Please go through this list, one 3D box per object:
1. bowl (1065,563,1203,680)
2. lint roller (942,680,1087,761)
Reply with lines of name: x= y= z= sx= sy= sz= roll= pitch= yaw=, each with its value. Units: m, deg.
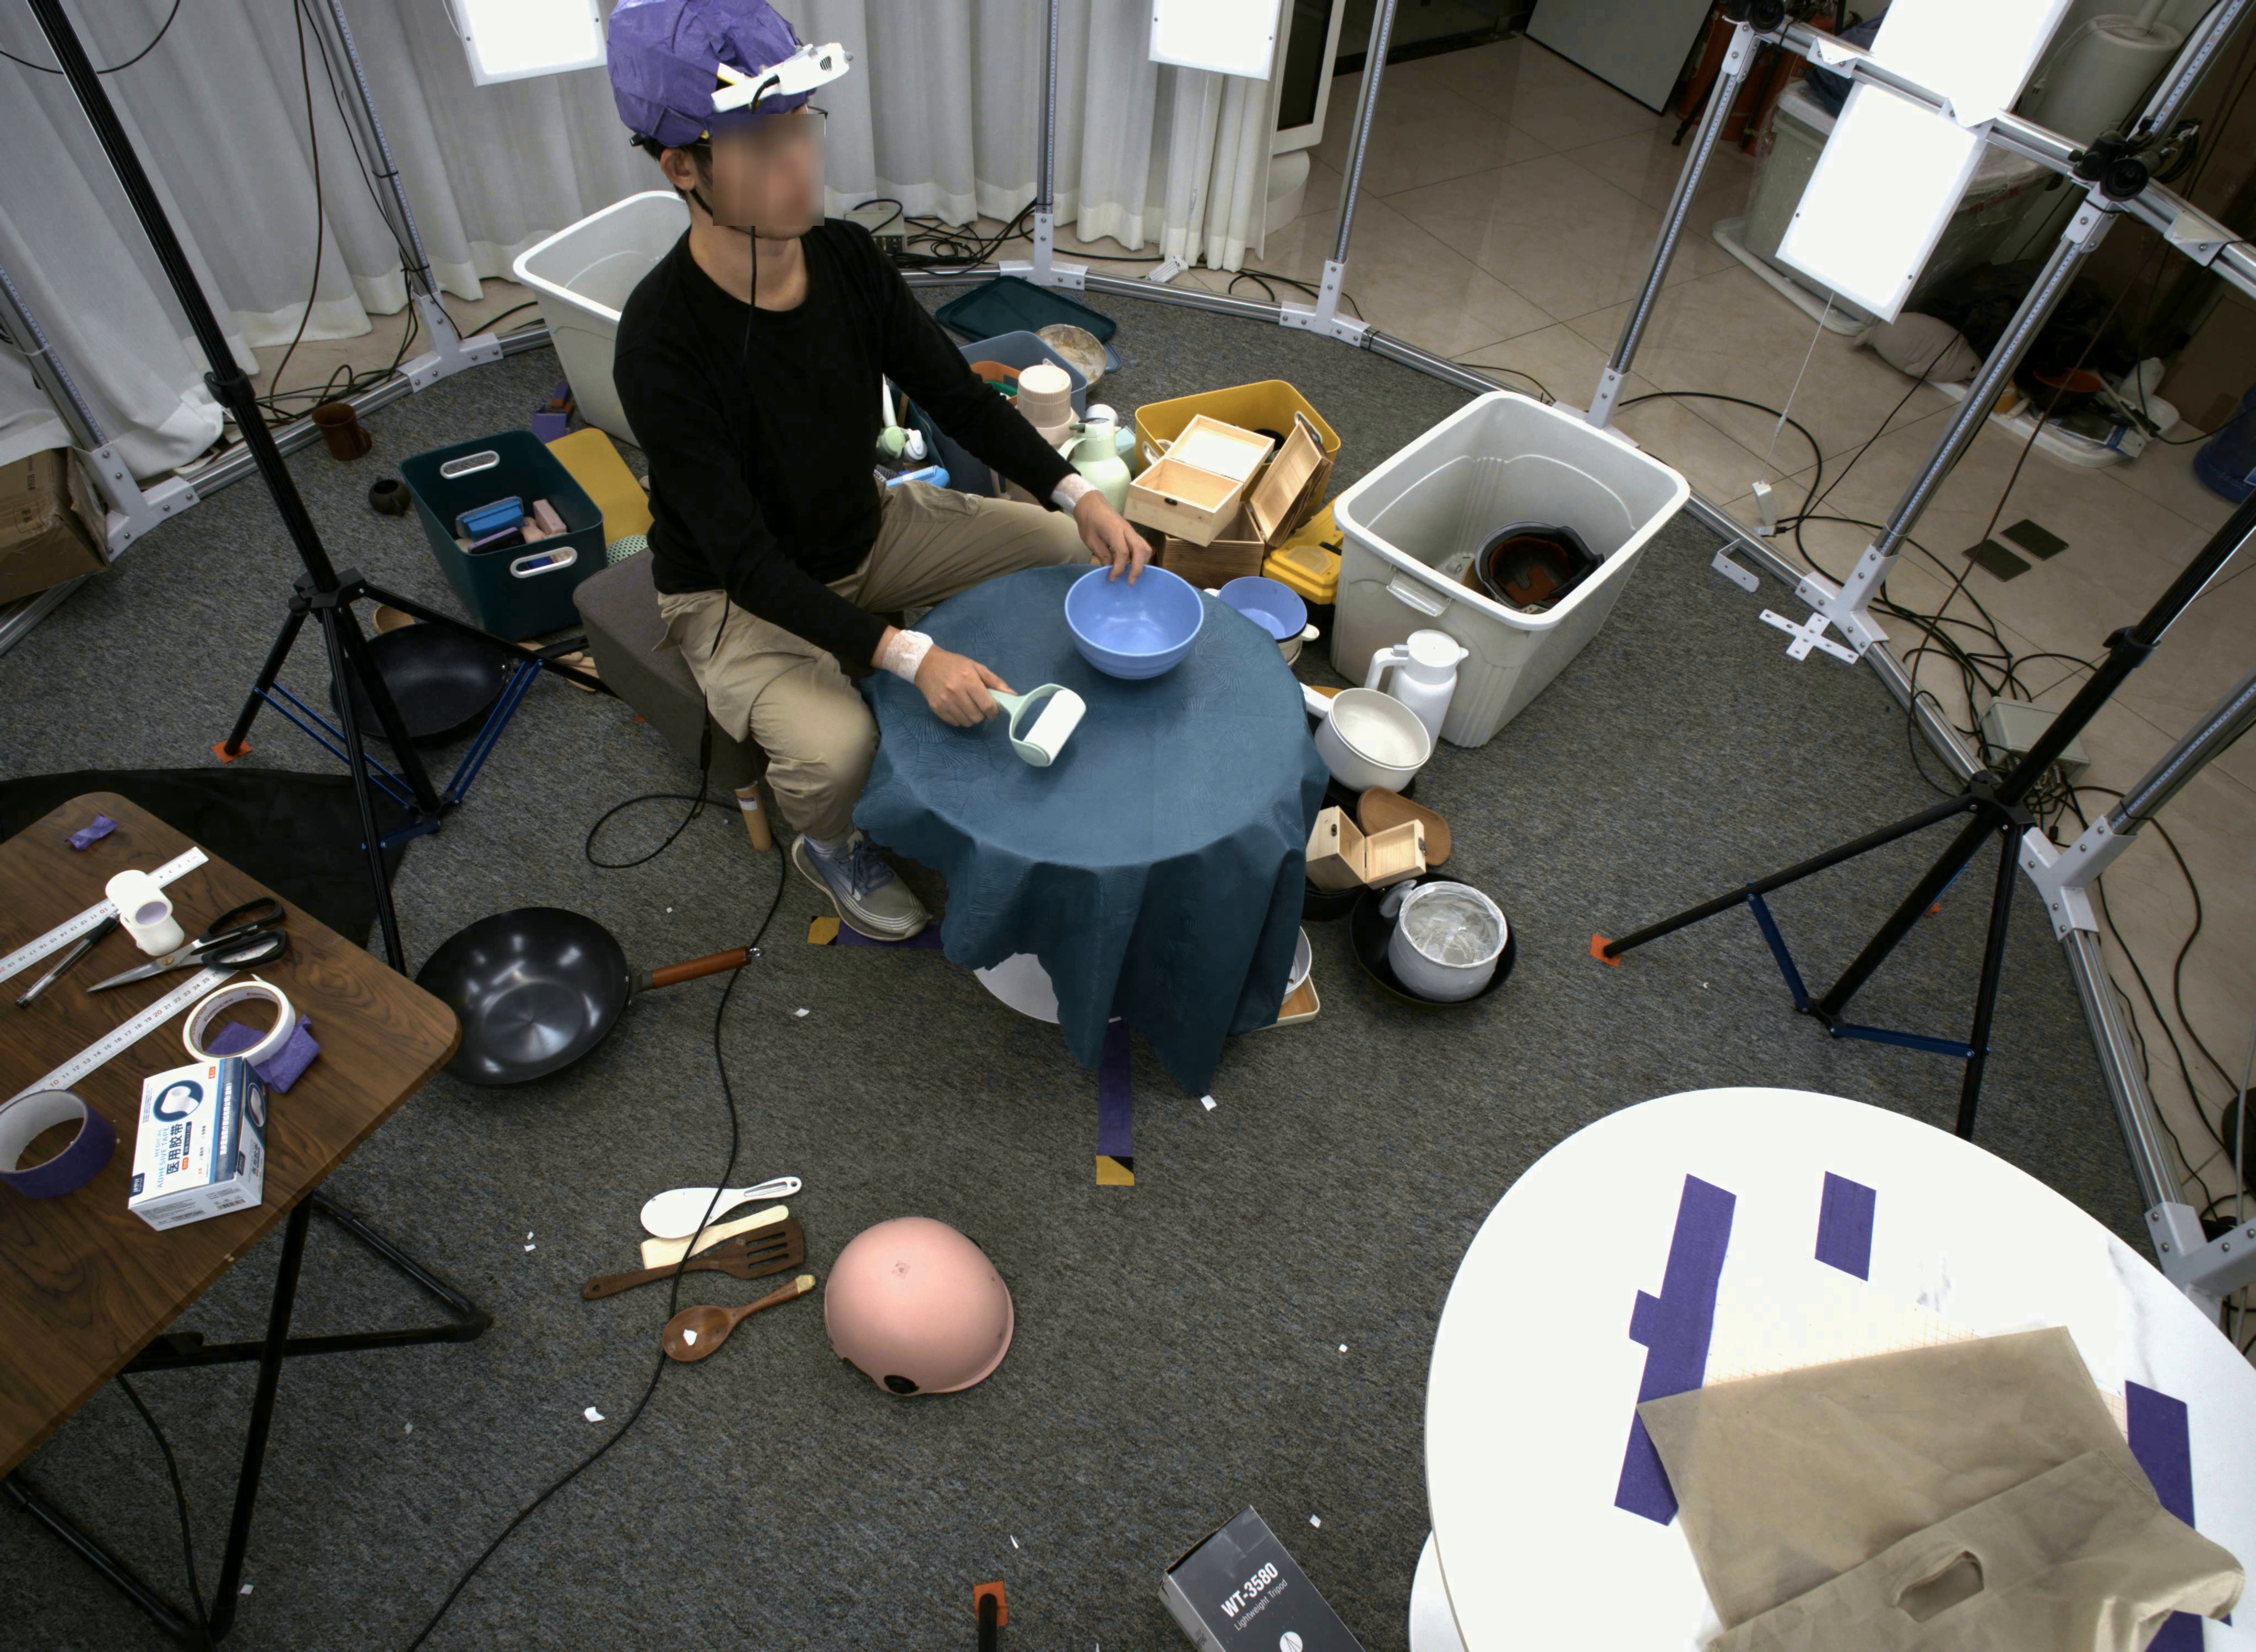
bowl: x=0.007 y=-0.279 z=1.850 sx=0.196 sy=0.093 sz=0.201 roll=1 pitch=50 yaw=-2
lint roller: x=-0.163 y=-0.164 z=1.736 sx=0.199 sy=0.047 sz=0.118 roll=21 pitch=56 yaw=16
